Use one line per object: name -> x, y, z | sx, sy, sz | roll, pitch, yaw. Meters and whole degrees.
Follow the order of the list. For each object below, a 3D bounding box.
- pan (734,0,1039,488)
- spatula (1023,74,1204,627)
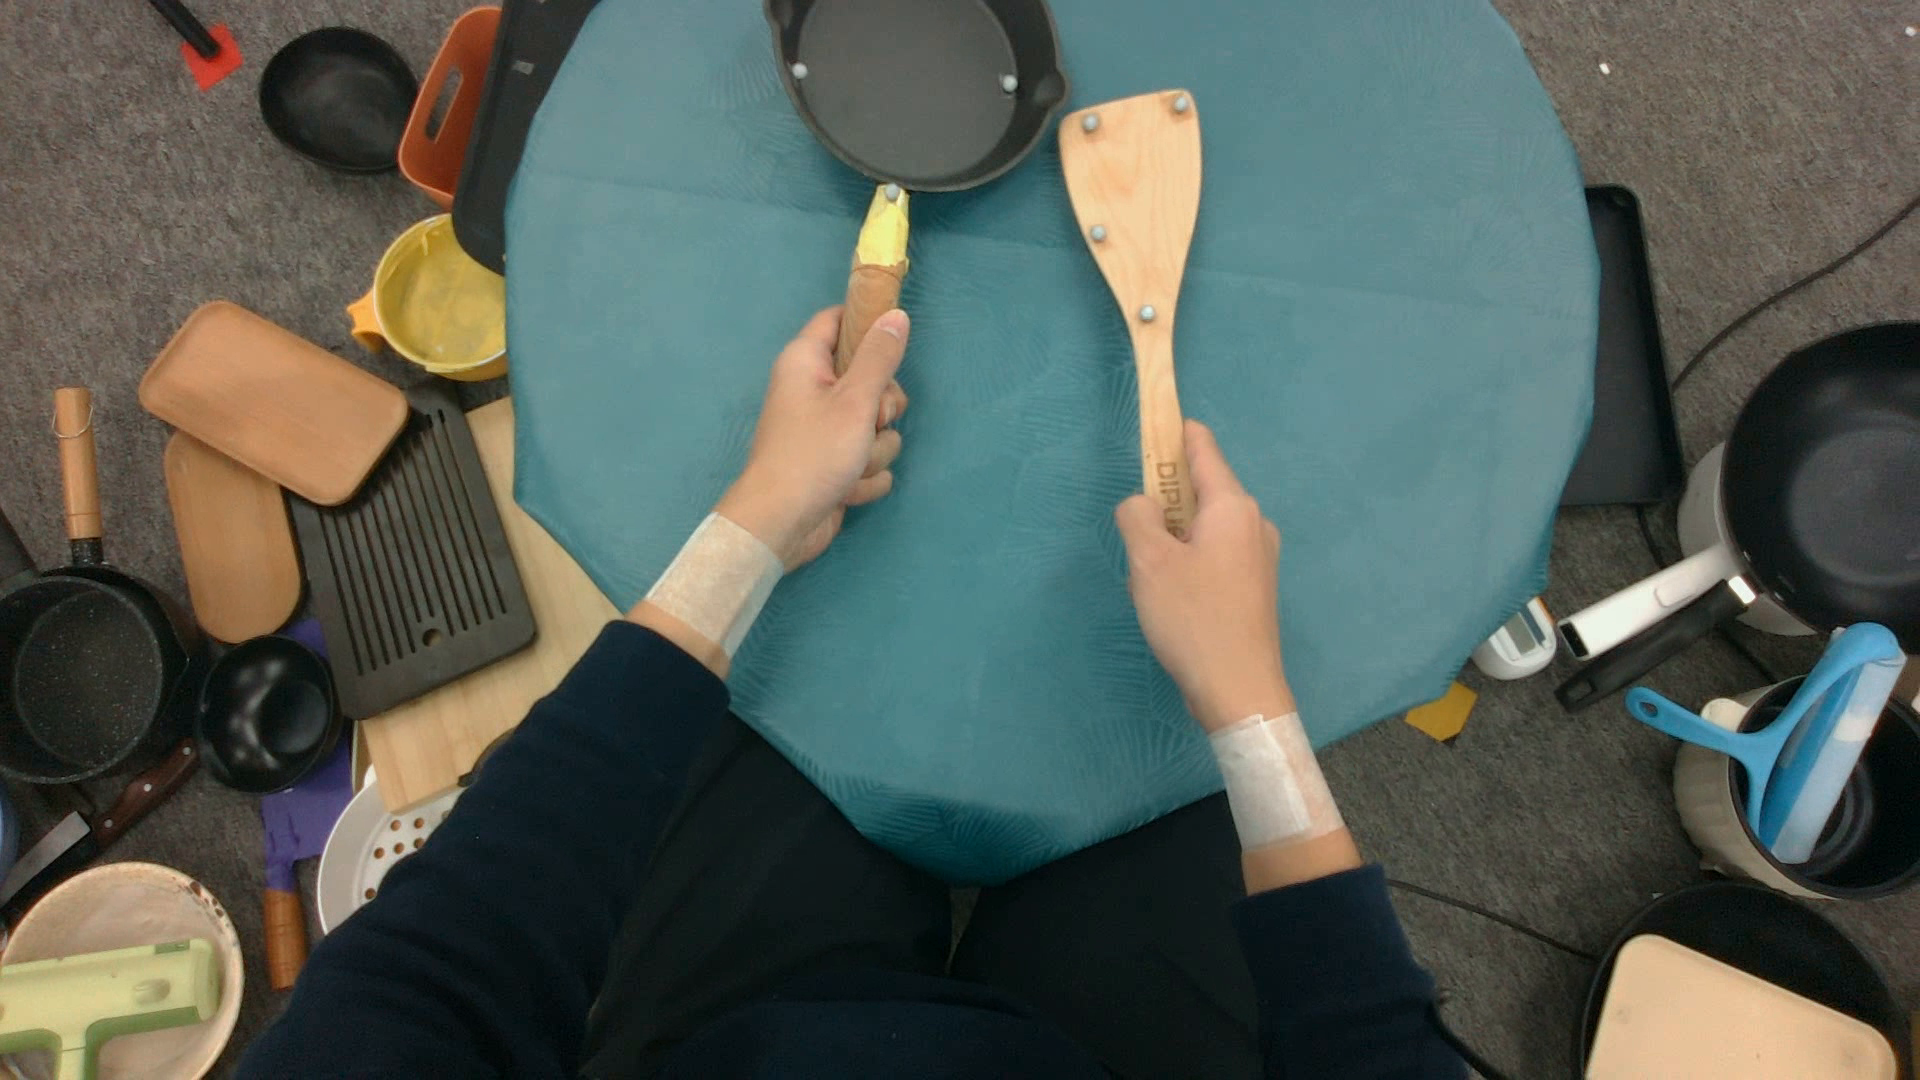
pan -> -0.053, -0.182, 0.720 | 0.169, 0.049, 0.325 | 13, 78, -15
spatula -> 0.086, -0.108, 0.702 | 0.080, 0.016, 0.329 | -5, 63, 0
